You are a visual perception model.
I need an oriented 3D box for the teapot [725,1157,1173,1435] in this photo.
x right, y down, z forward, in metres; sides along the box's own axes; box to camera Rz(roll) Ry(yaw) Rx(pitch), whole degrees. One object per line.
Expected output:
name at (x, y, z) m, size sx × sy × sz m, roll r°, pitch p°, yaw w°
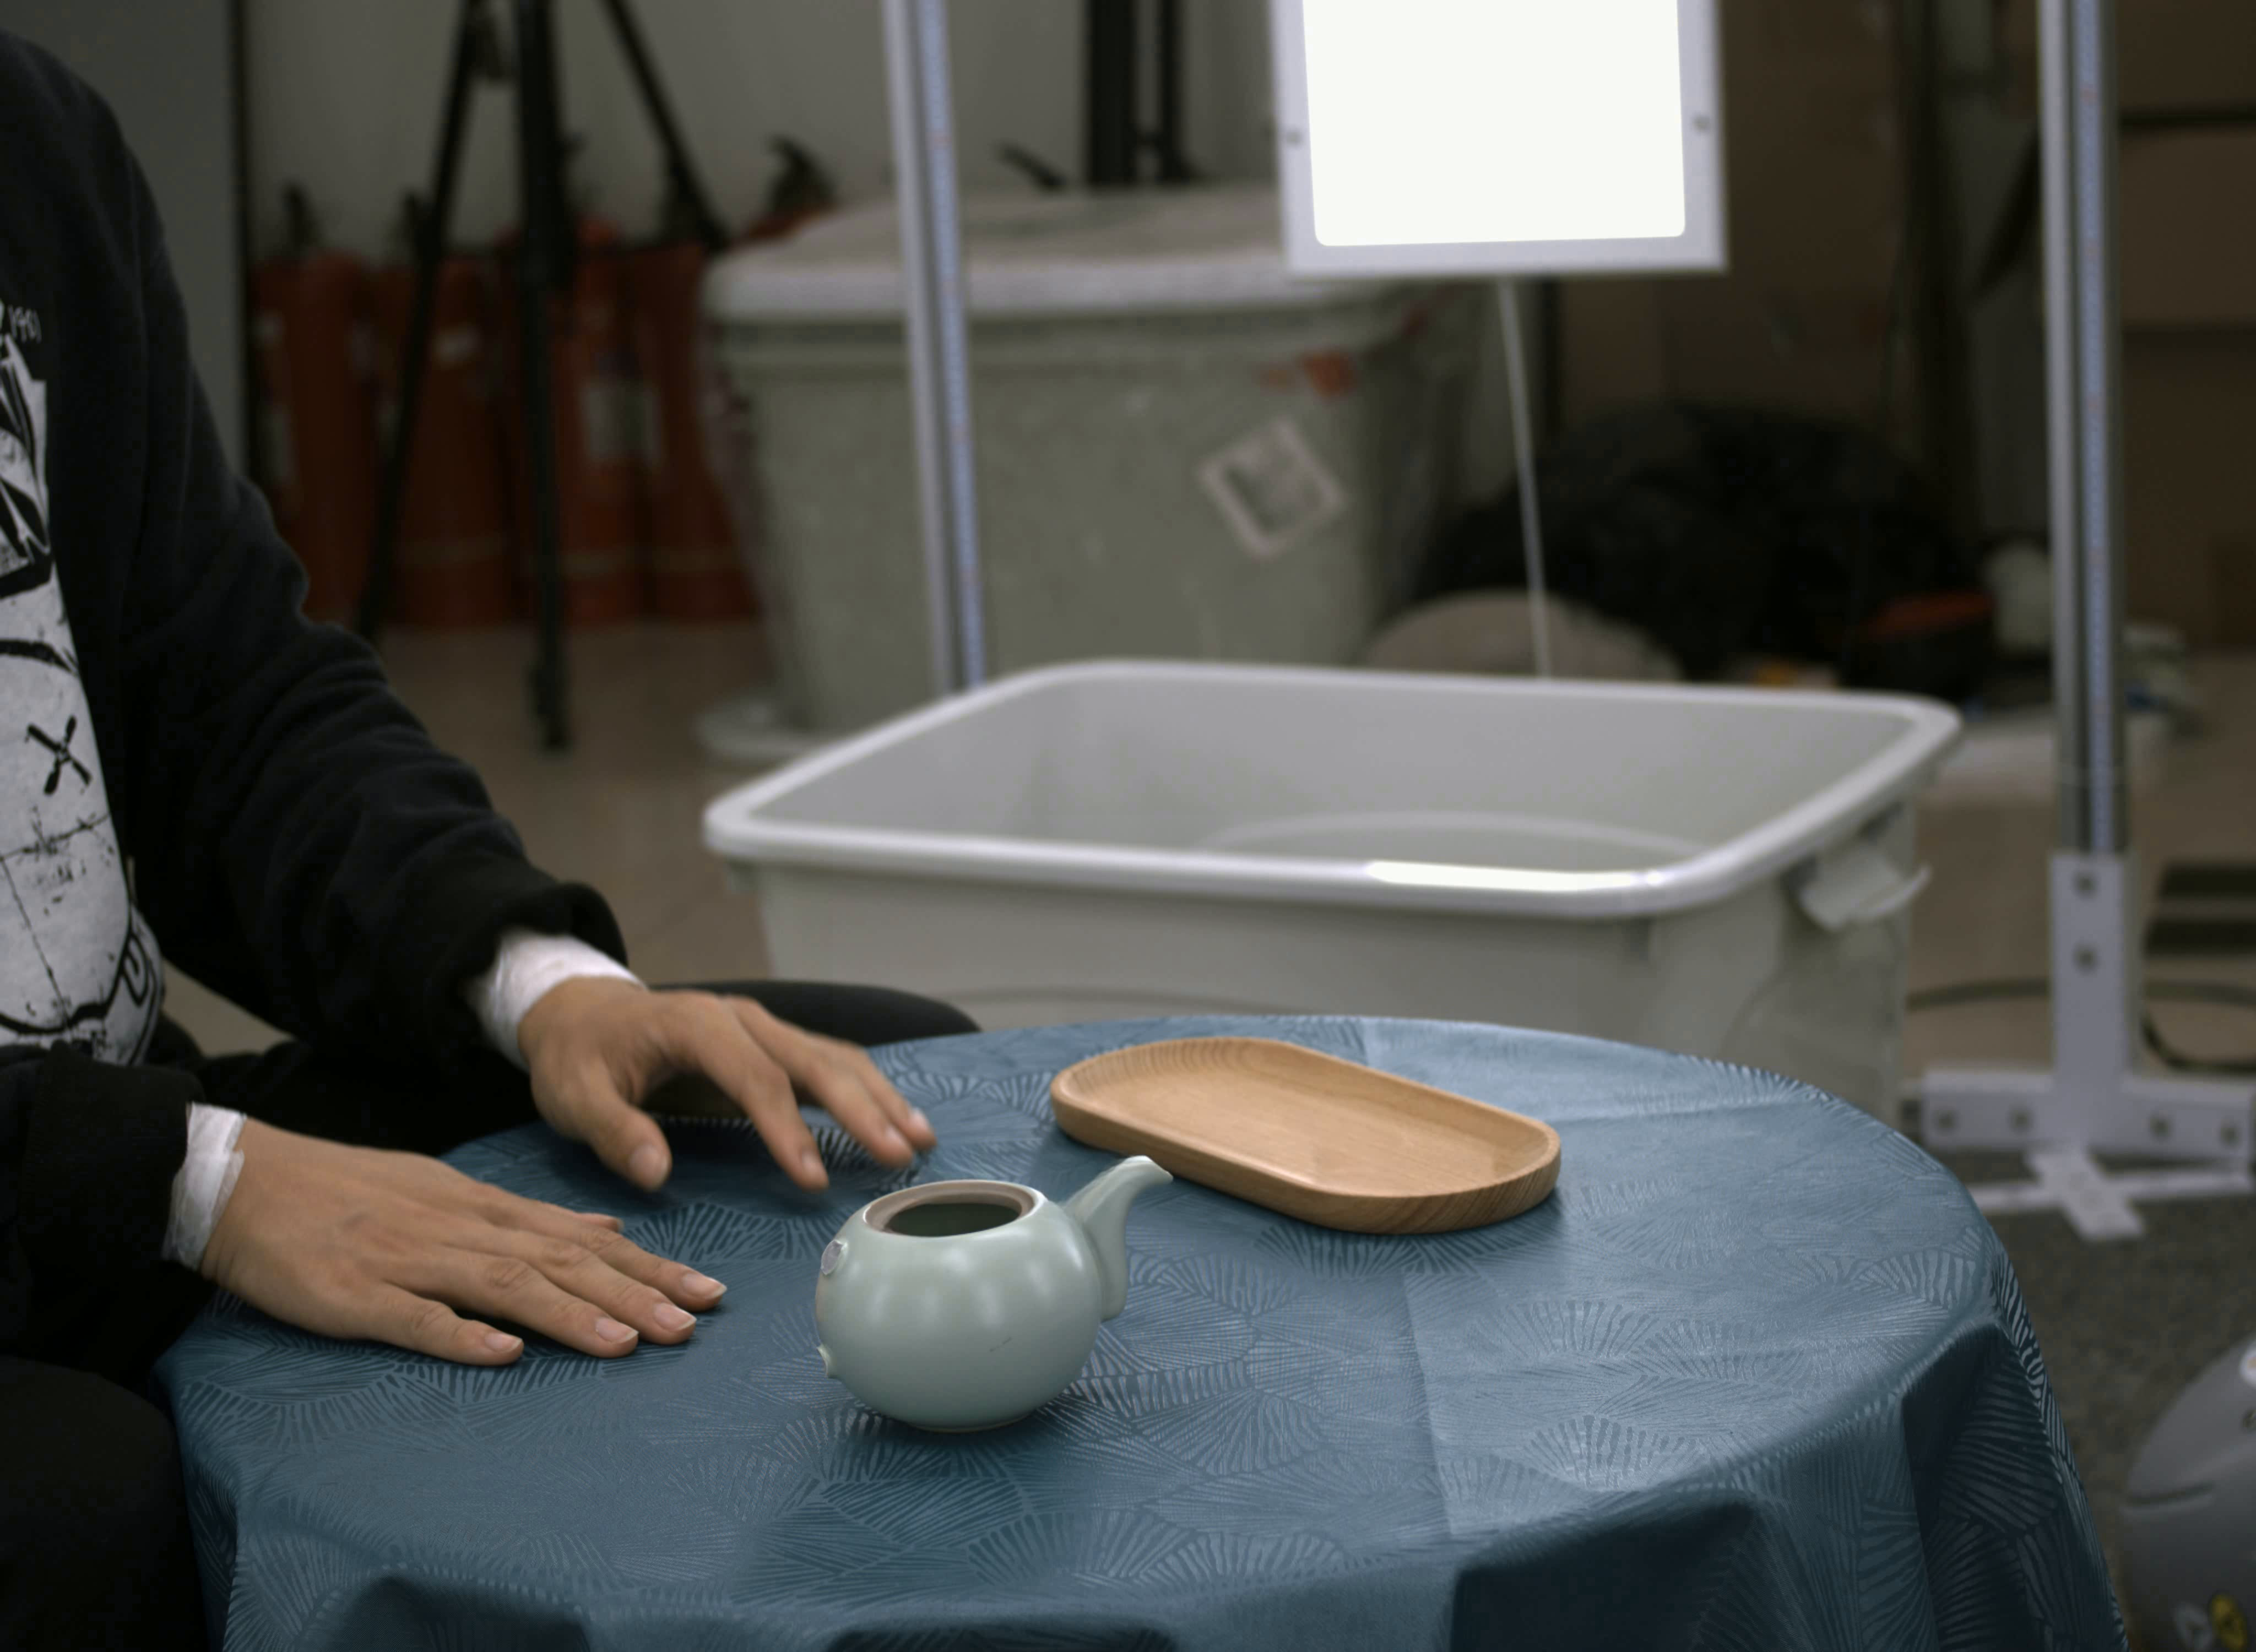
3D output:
teapot at (-0.053, 0.145, 1.691) m, size 0.142 × 0.075 × 0.089 m, roll -7°, pitch 13°, yaw -13°

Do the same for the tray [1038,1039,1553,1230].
tray at (0.057, 0.107, 1.925) m, size 0.099 × 0.020 × 0.236 m, roll -12°, pitch 14°, yaw -33°
